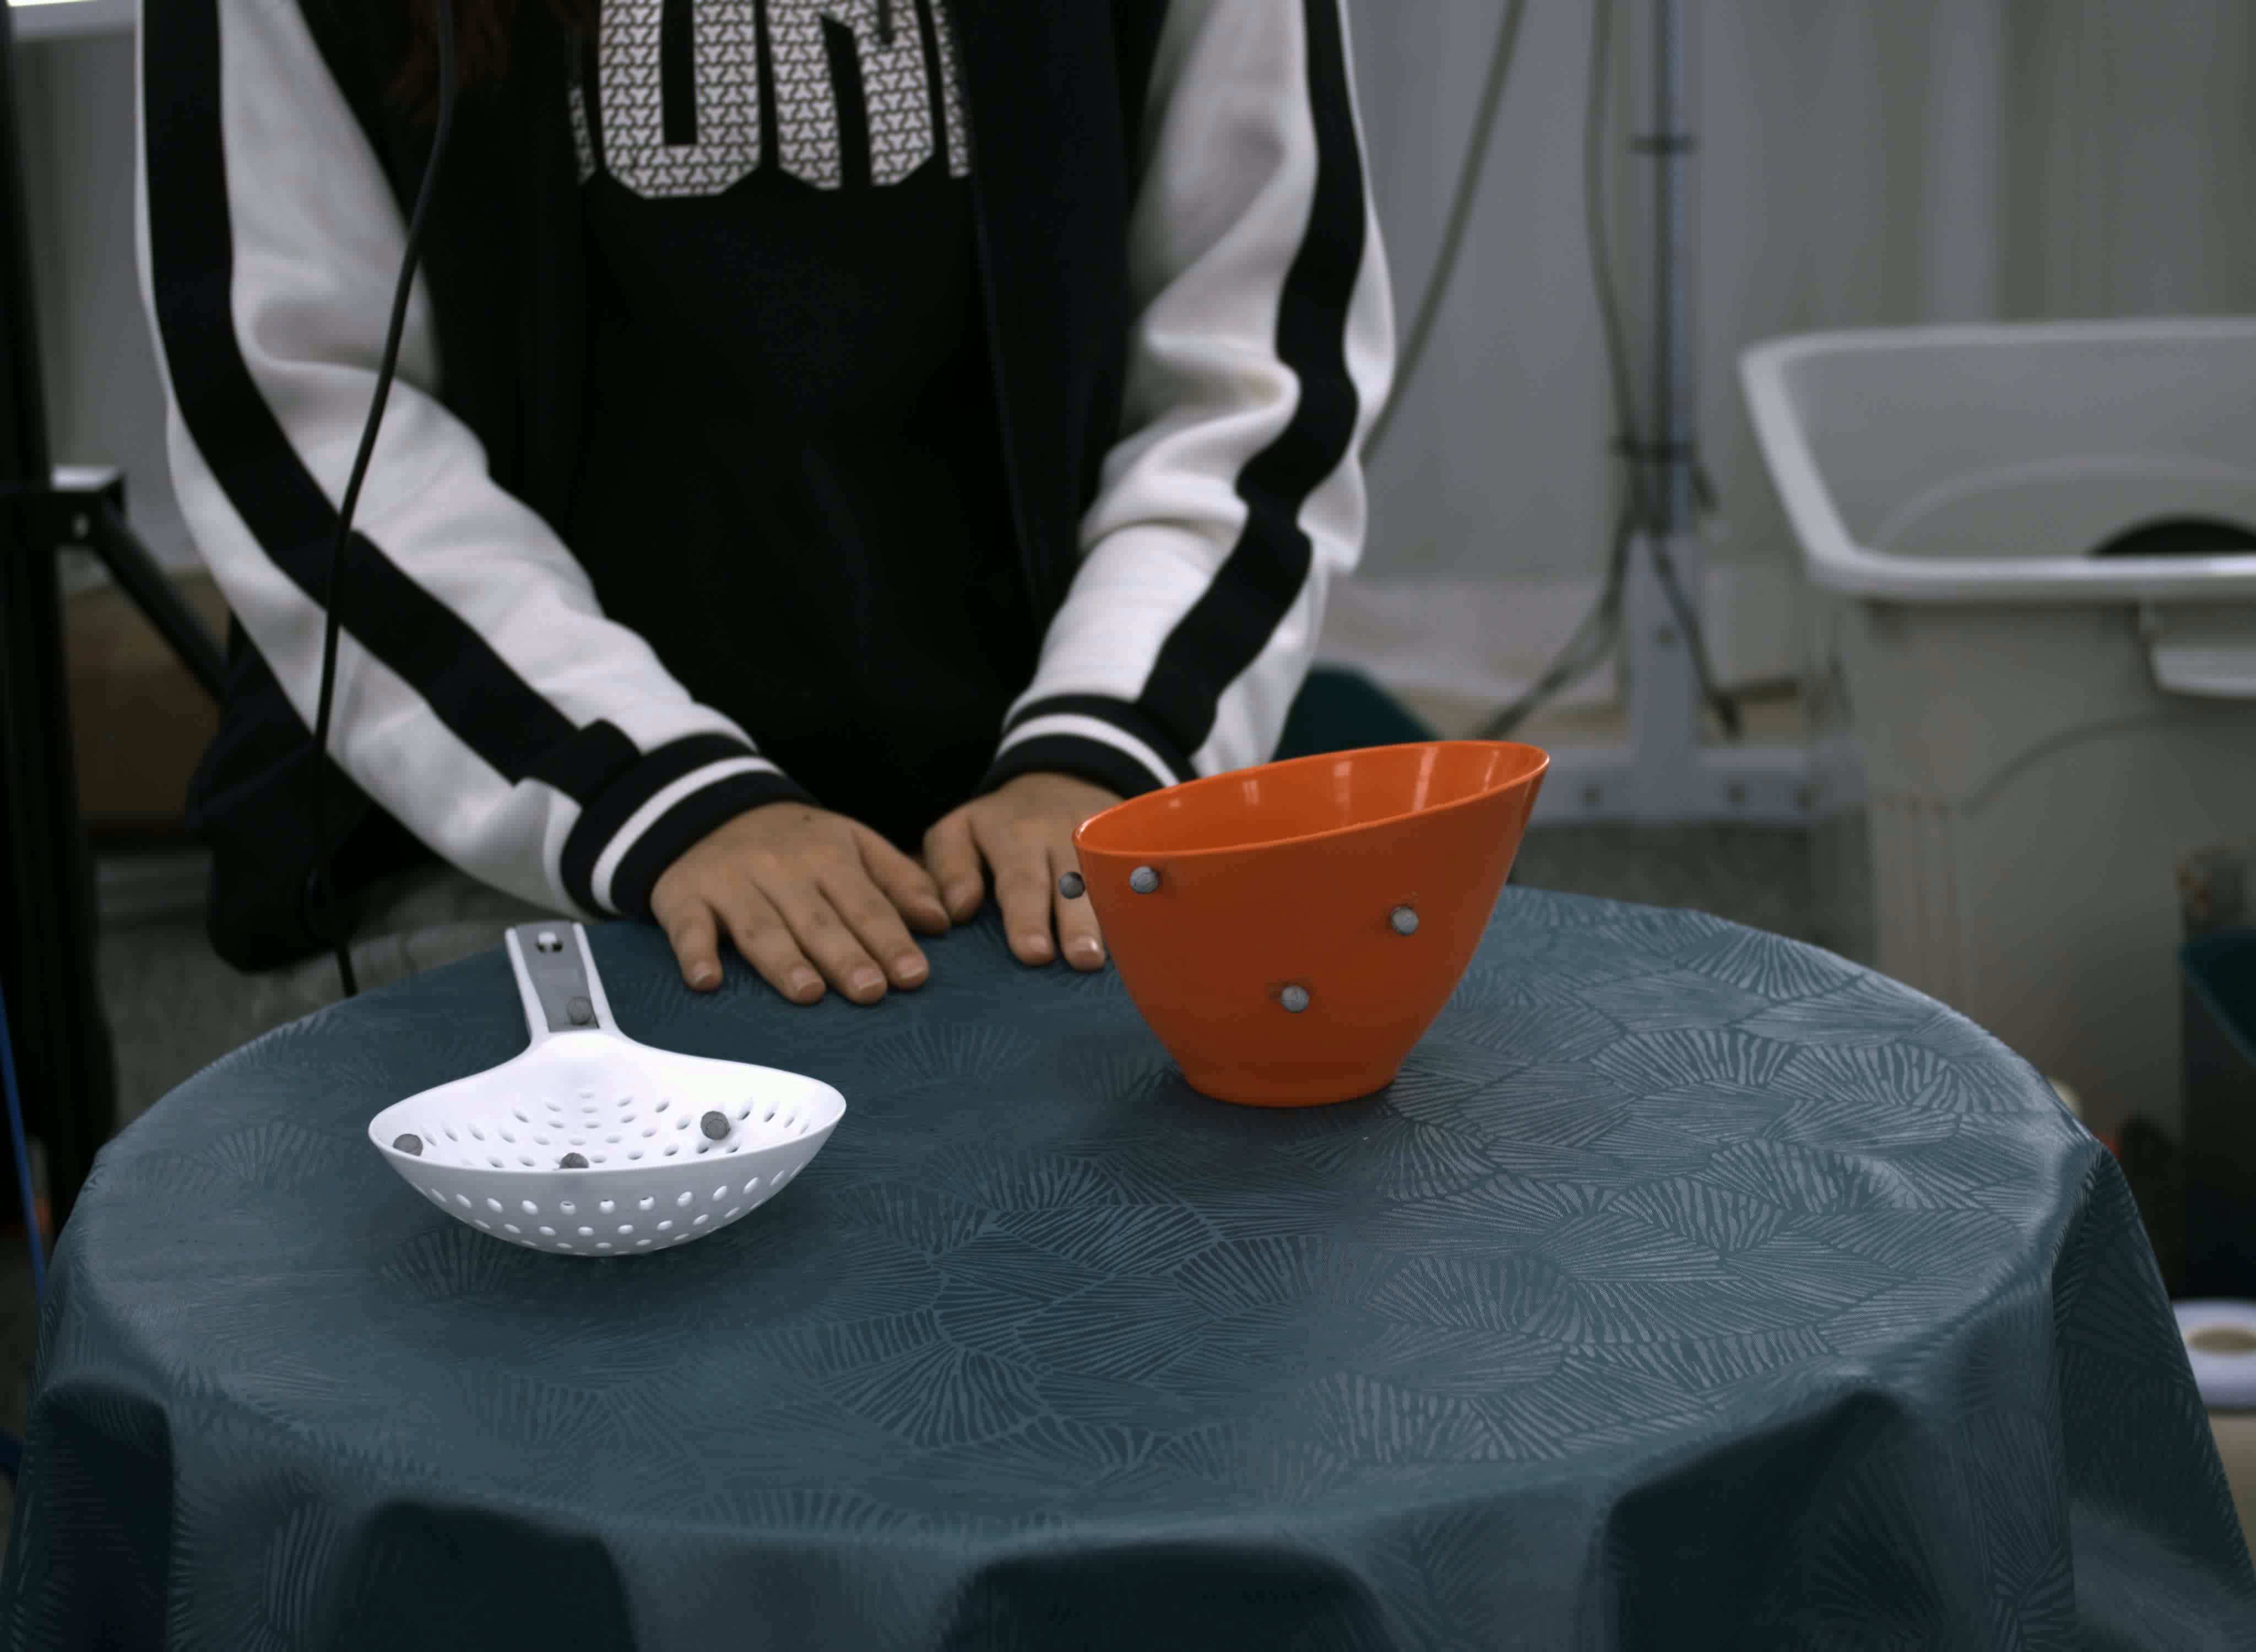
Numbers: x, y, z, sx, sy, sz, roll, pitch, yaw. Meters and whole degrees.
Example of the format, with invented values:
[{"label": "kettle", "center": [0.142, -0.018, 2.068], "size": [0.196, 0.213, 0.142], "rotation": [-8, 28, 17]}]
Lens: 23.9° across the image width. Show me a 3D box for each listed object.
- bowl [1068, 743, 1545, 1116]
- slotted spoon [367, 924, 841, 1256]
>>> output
[{"label": "bowl", "center": [0.056, 0.032, 1.635], "size": [0.147, 0.104, 0.149], "rotation": [-4, 16, 0]}, {"label": "slotted spoon", "center": [-0.167, 0.071, 1.634], "size": [0.134, 0.046, 0.353], "rotation": [-4, 15, -9]}]
